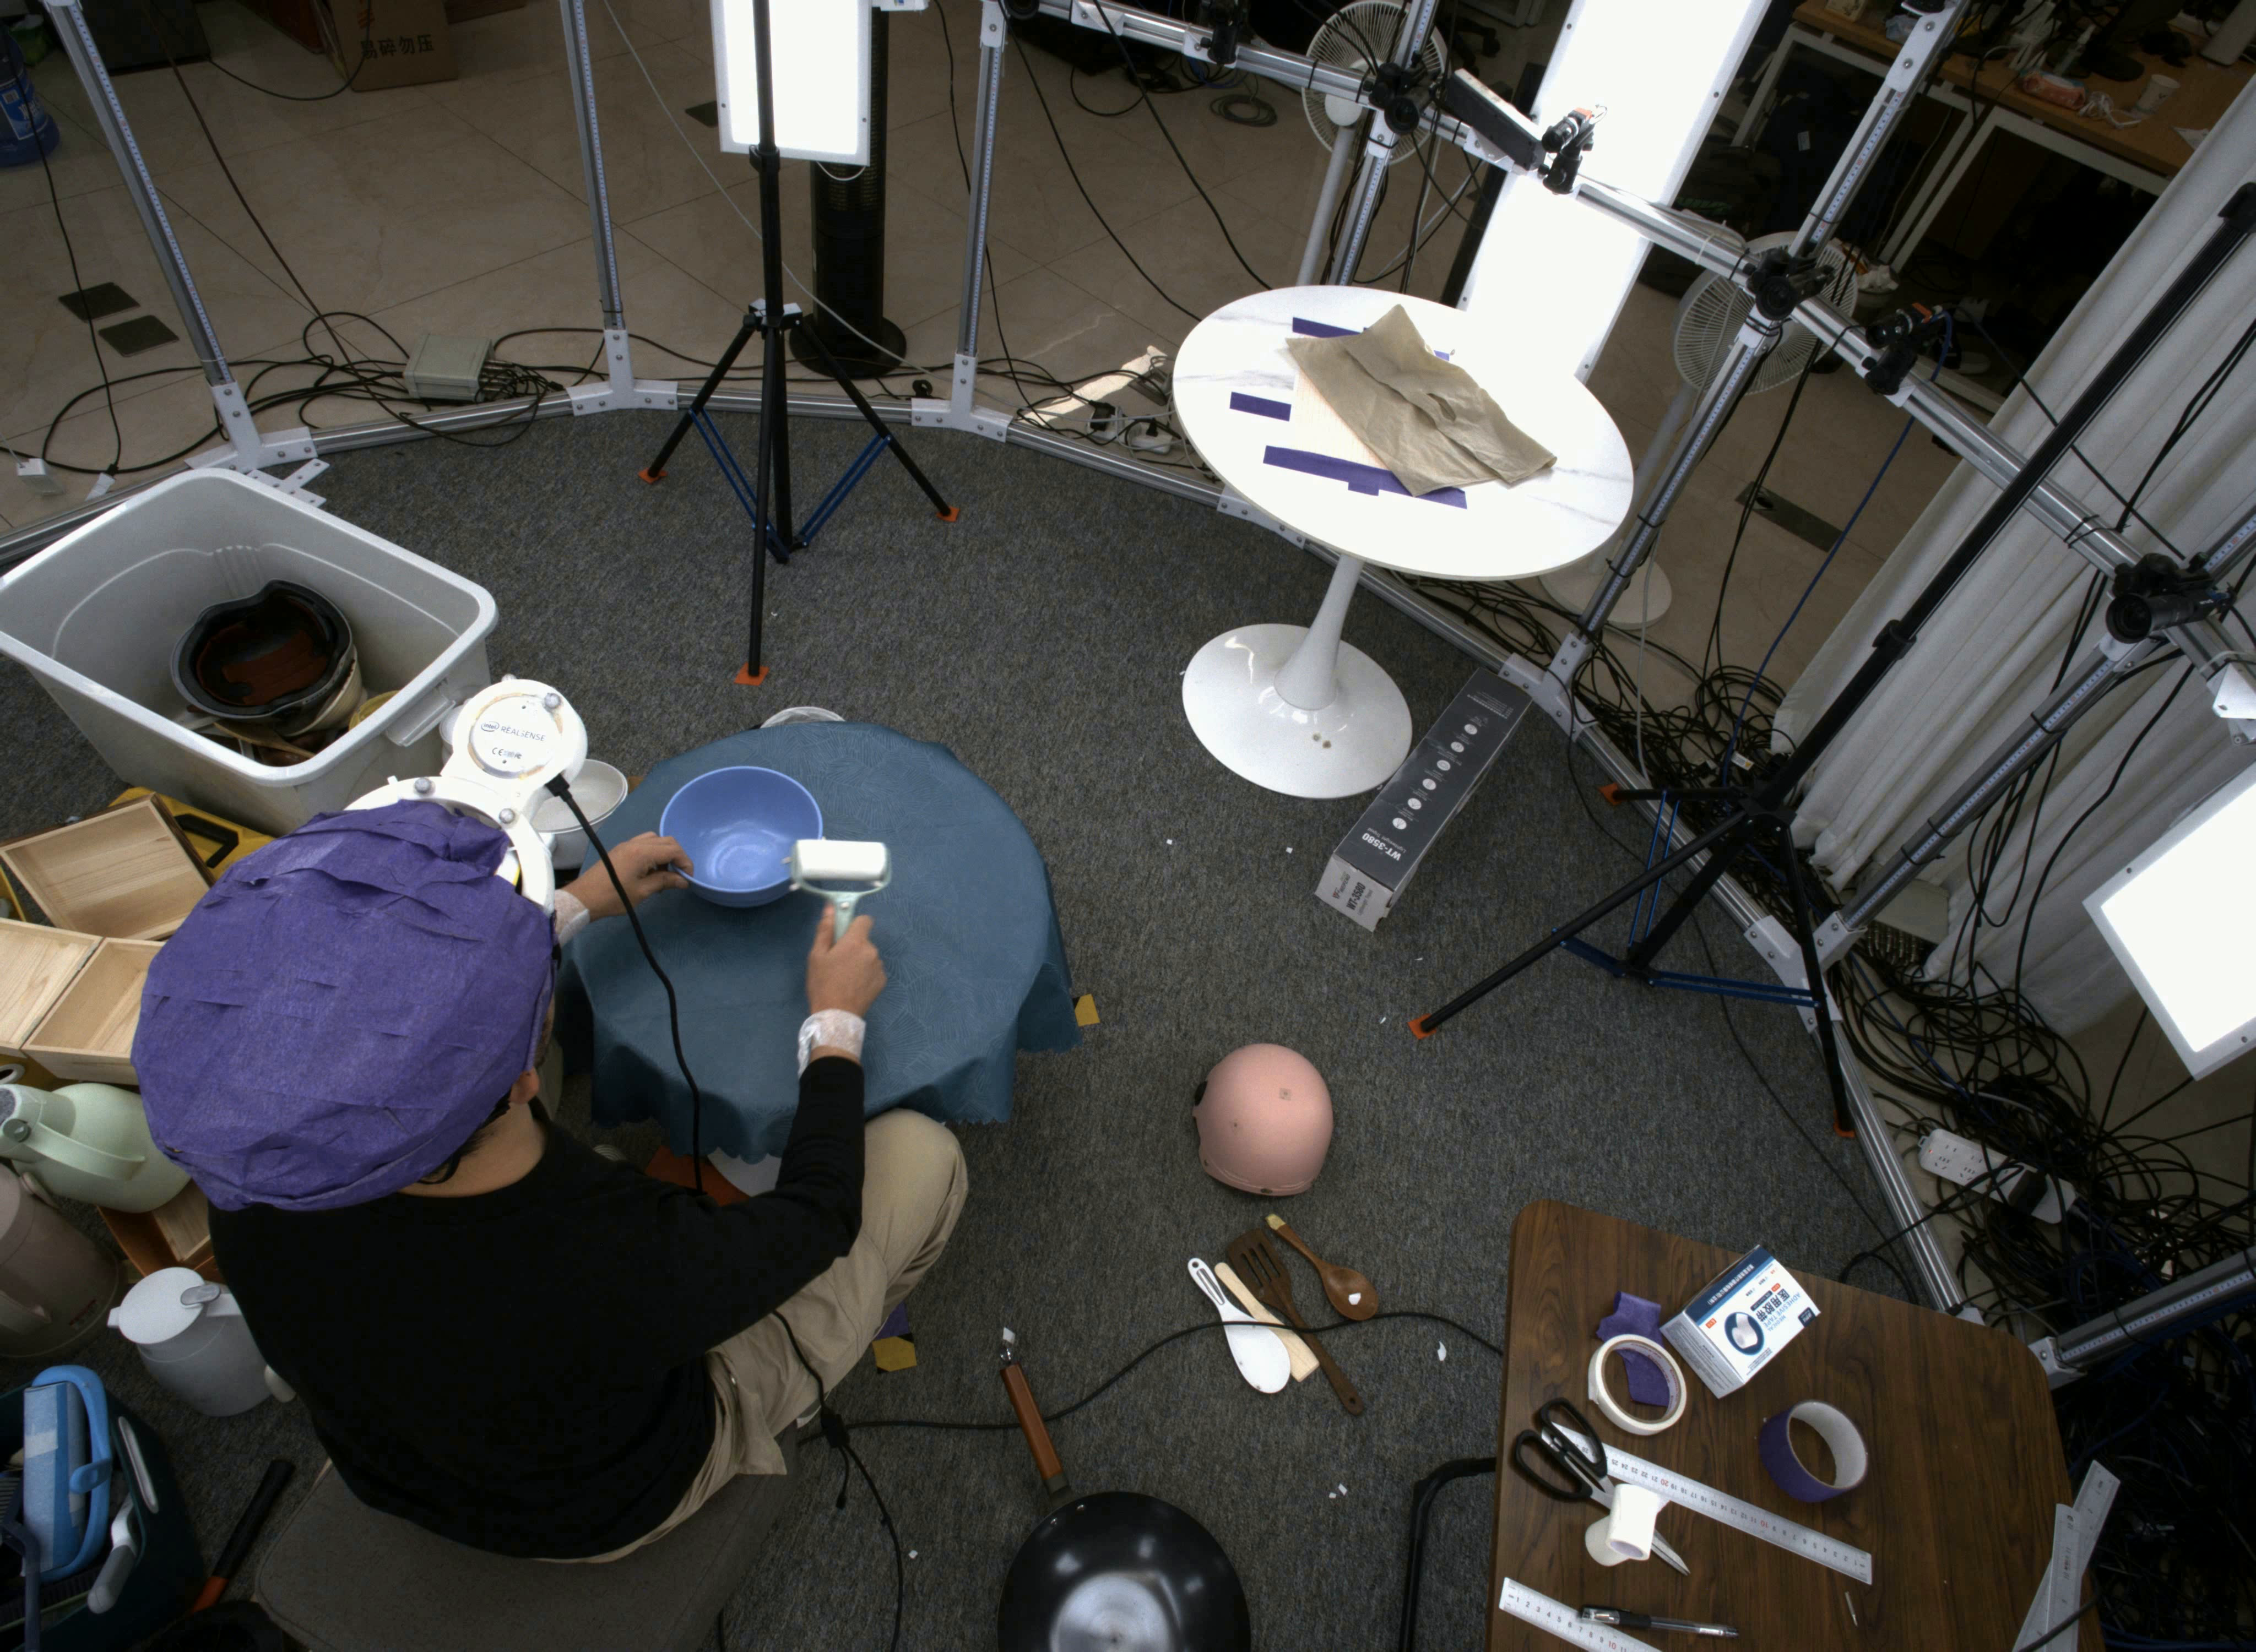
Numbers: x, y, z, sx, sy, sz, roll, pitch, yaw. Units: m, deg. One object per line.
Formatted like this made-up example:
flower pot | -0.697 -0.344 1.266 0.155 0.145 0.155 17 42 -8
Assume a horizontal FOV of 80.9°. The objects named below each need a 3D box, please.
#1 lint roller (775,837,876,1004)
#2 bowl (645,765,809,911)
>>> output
lint roller | -0.351 0.105 1.514 0.118 0.048 0.196 3 67 -26
bowl | -0.498 0.029 1.615 0.196 0.097 0.193 9 52 -9
